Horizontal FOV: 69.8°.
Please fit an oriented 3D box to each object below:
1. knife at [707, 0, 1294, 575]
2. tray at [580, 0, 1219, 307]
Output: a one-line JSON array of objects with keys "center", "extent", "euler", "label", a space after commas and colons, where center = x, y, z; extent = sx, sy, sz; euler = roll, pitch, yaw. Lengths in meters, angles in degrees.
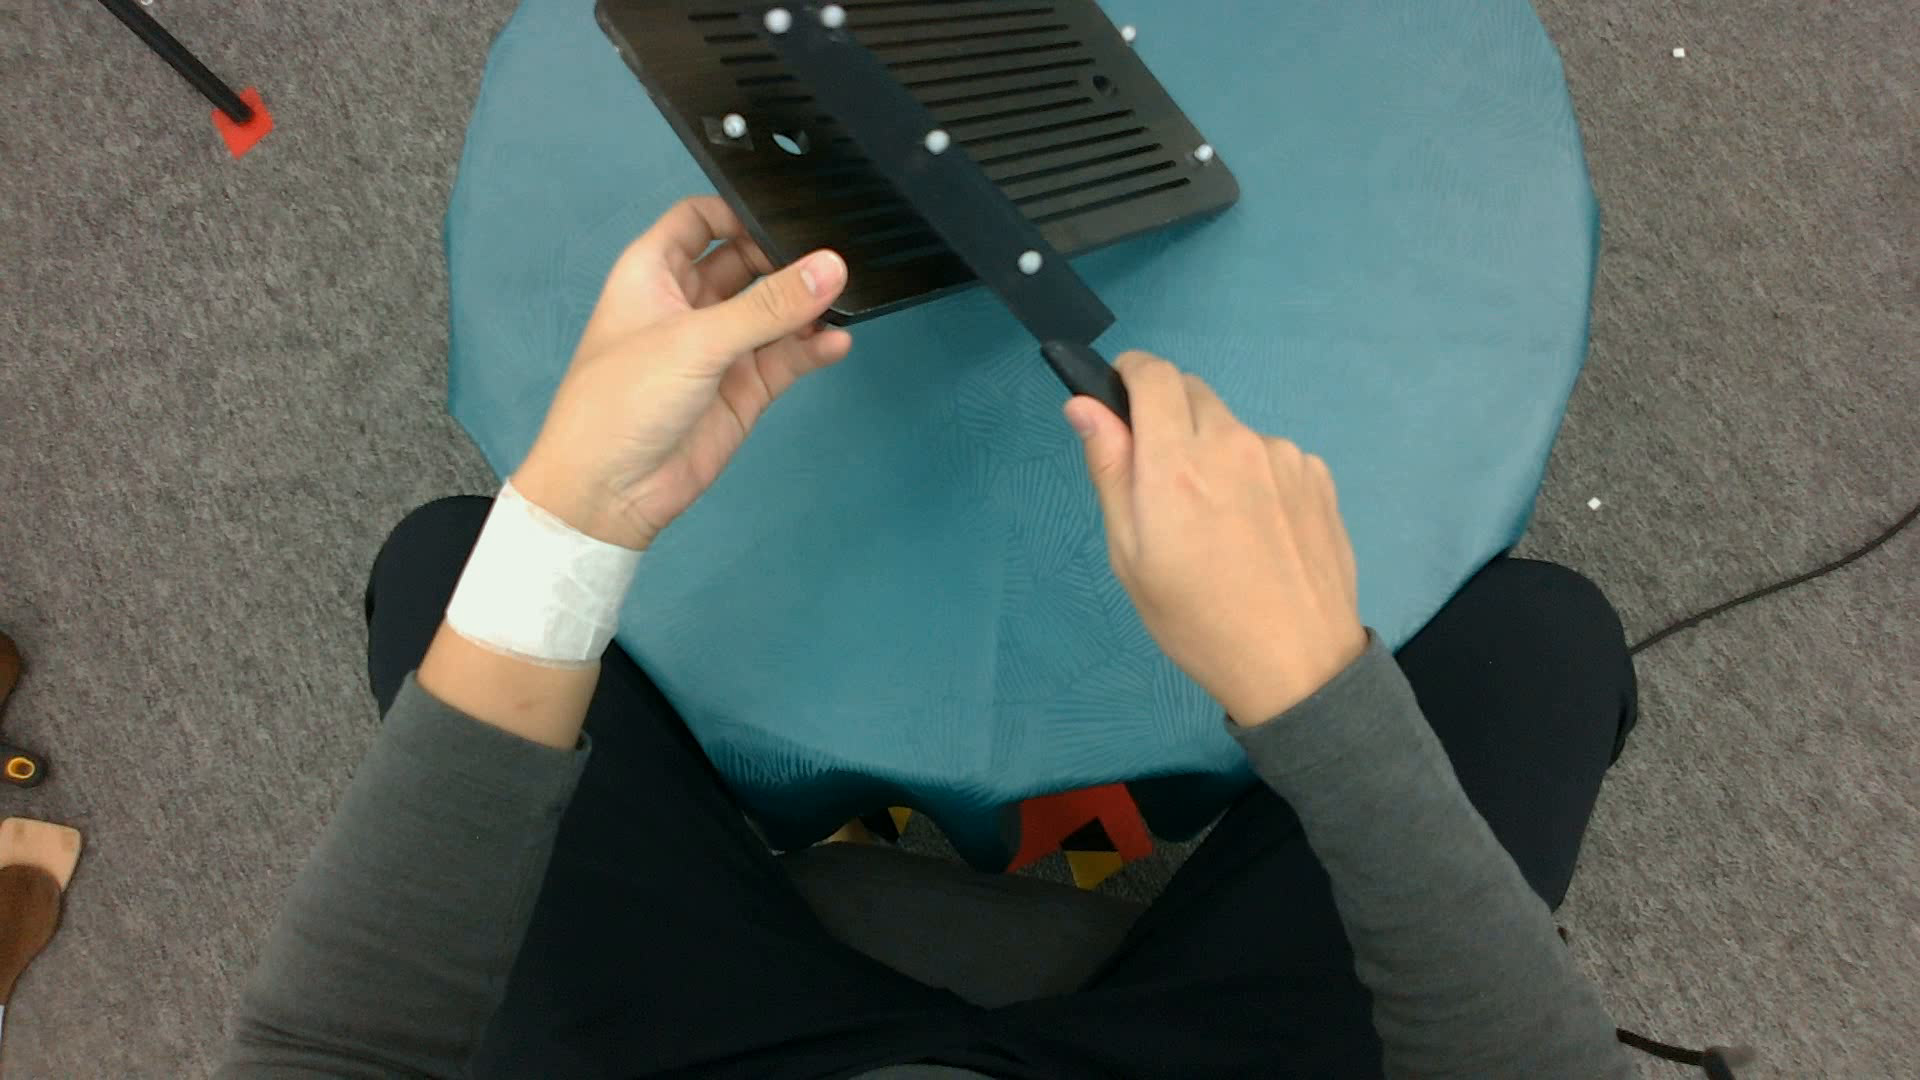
[{"center": [0.021, -0.102, 0.531], "extent": [0.302, 0.081, 0.021], "euler": [48, 126, 2], "label": "knife"}, {"center": [-0.010, -0.201, 0.628], "extent": [0.307, 0.018, 0.170], "euler": [-27, 78, -44], "label": "tray"}]
